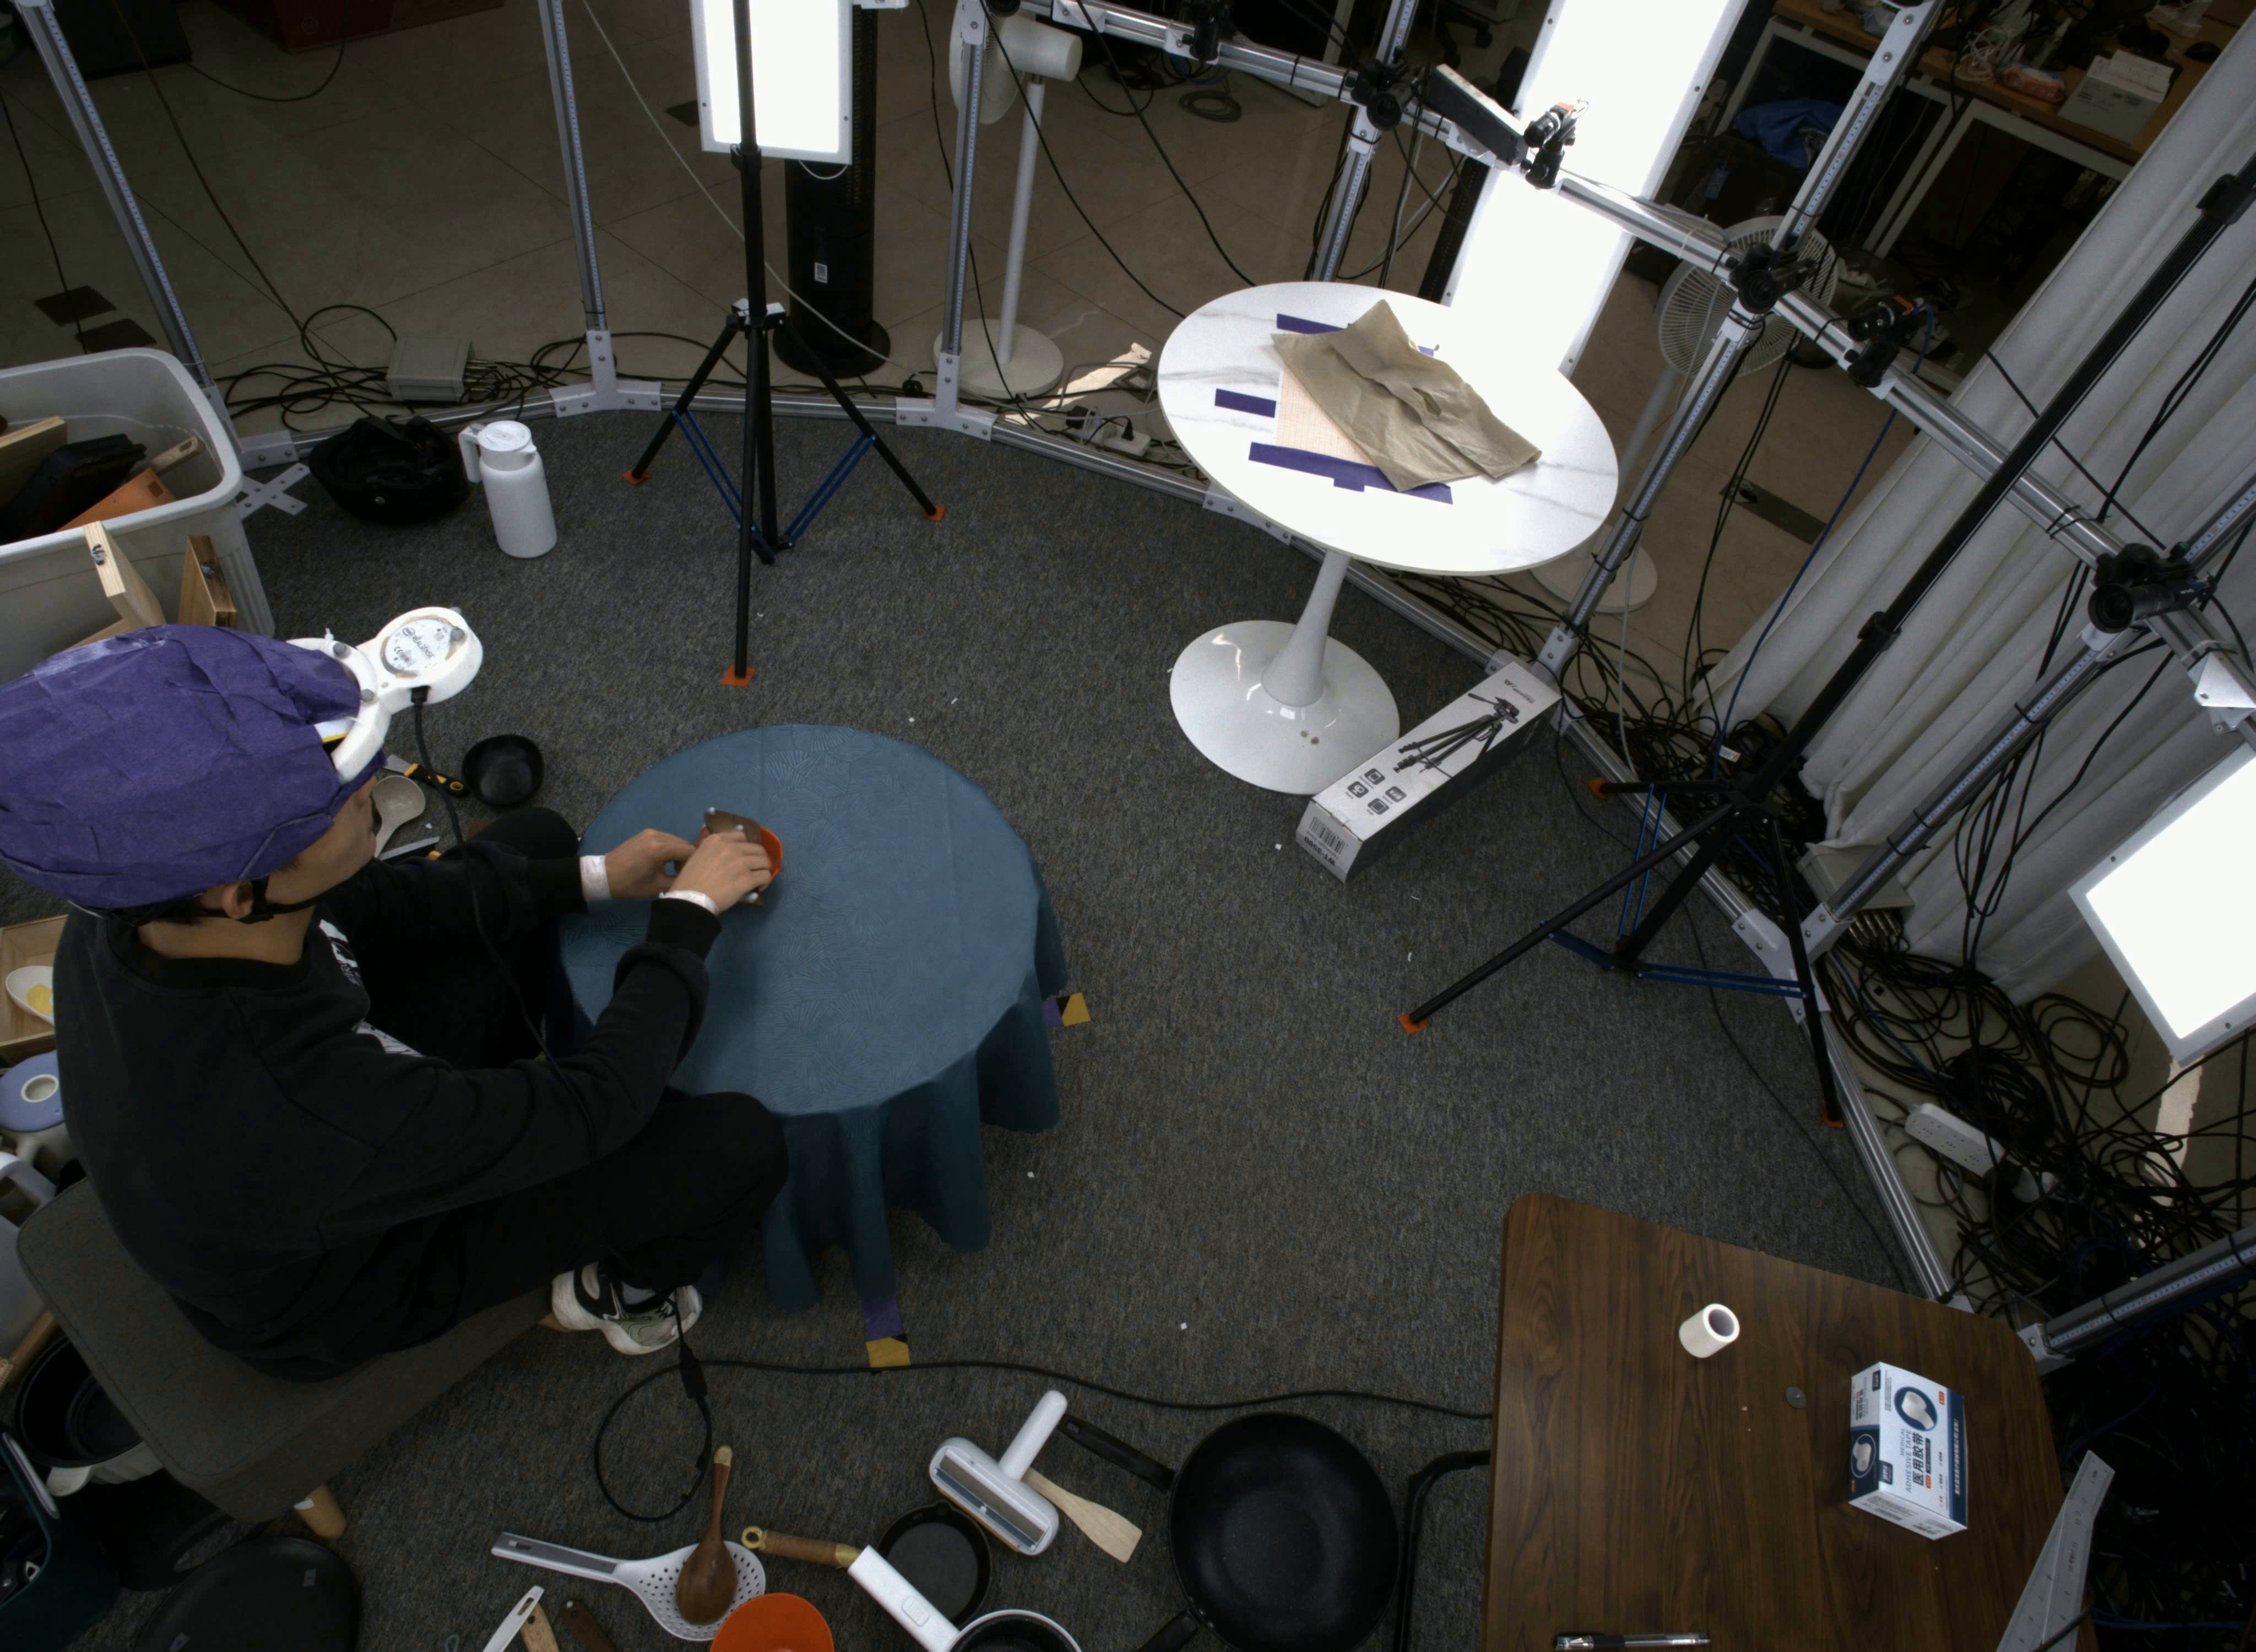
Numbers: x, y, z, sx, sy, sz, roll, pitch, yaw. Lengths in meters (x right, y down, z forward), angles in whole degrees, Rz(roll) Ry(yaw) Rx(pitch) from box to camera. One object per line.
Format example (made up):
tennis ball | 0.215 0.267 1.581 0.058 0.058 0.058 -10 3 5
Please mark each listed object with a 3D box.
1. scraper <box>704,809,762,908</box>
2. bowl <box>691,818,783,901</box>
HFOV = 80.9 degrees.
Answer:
scraper | -0.468 0.038 1.555 0.078 0.011 0.204 23 18 -33
bowl | -0.498 0.049 1.633 0.120 0.052 0.116 18 46 -18
